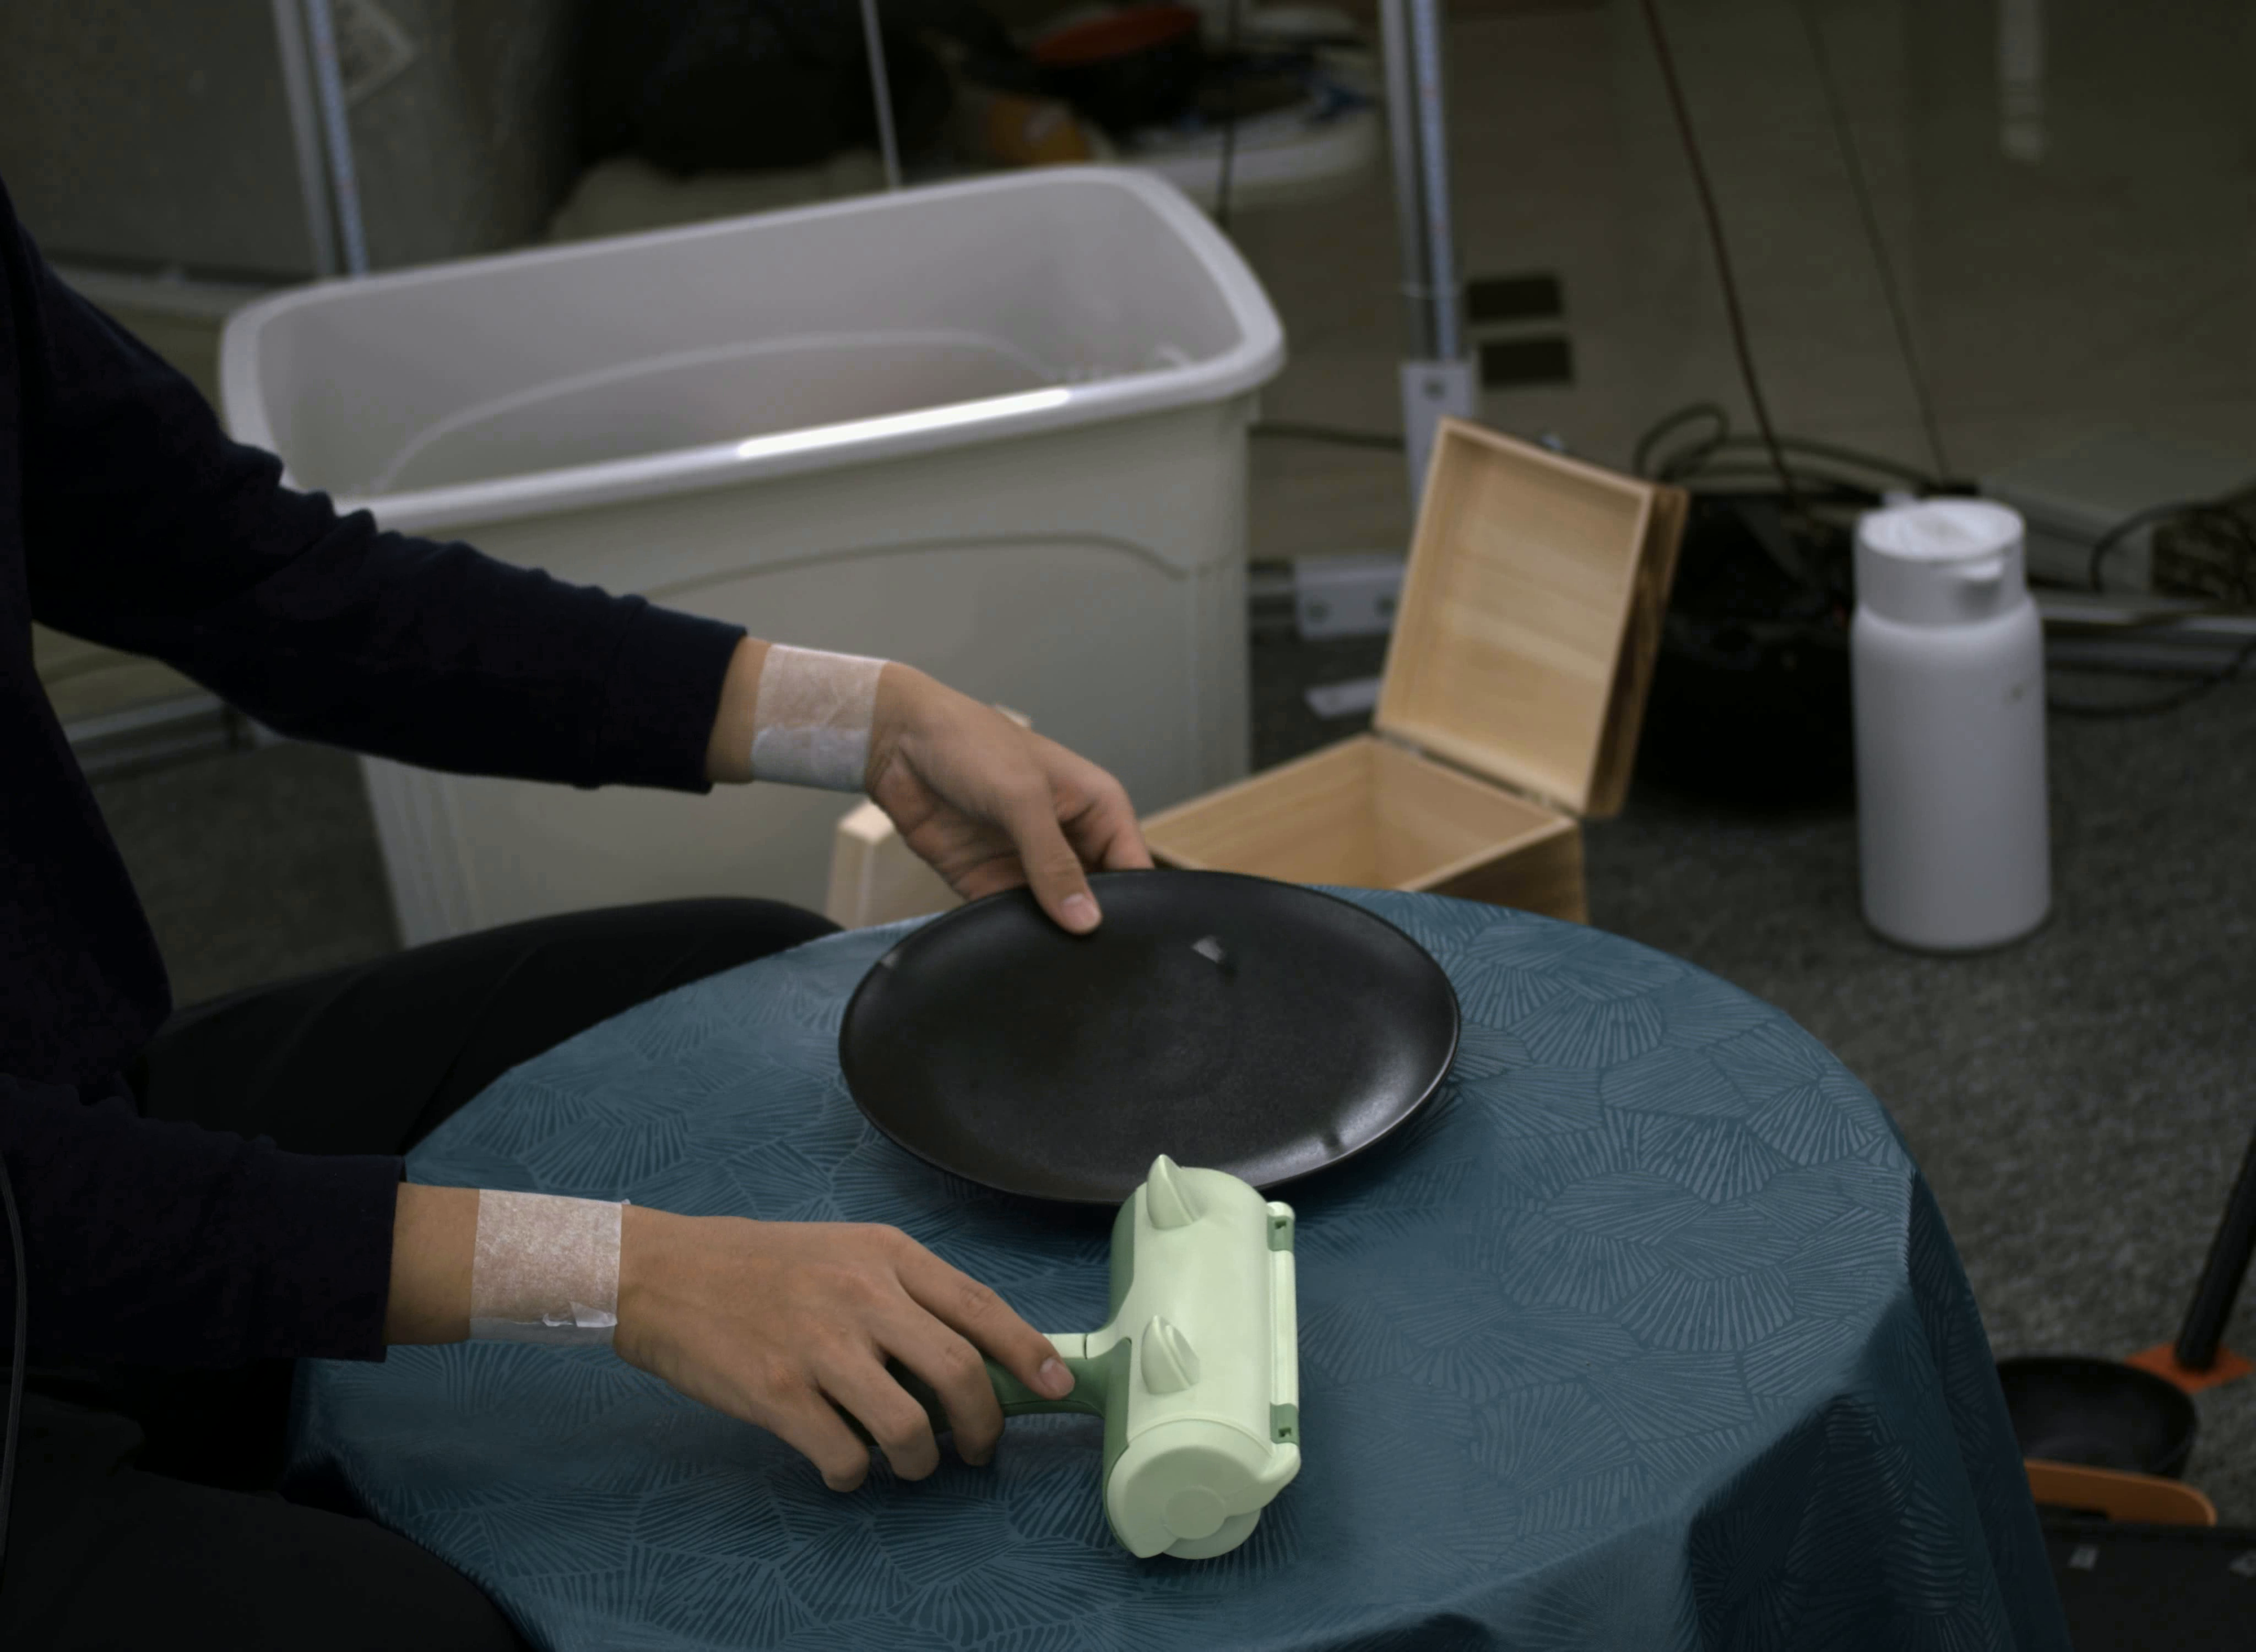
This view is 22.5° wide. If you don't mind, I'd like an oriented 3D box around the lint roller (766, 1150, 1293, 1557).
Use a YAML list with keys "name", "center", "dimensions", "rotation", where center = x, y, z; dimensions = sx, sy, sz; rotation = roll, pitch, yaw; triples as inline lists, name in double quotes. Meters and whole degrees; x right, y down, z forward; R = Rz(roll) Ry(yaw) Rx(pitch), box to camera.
- name: "lint roller"
  center: [-0.034, 0.175, 1.972]
  dimensions: [0.183, 0.083, 0.196]
  rotation: [3, 25, 0]

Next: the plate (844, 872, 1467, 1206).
- name: "plate"
  center: [0.011, 0.087, 2.206]
  dimensions: [0.244, 0.024, 0.240]
  rotation: [-3, 30, 2]
